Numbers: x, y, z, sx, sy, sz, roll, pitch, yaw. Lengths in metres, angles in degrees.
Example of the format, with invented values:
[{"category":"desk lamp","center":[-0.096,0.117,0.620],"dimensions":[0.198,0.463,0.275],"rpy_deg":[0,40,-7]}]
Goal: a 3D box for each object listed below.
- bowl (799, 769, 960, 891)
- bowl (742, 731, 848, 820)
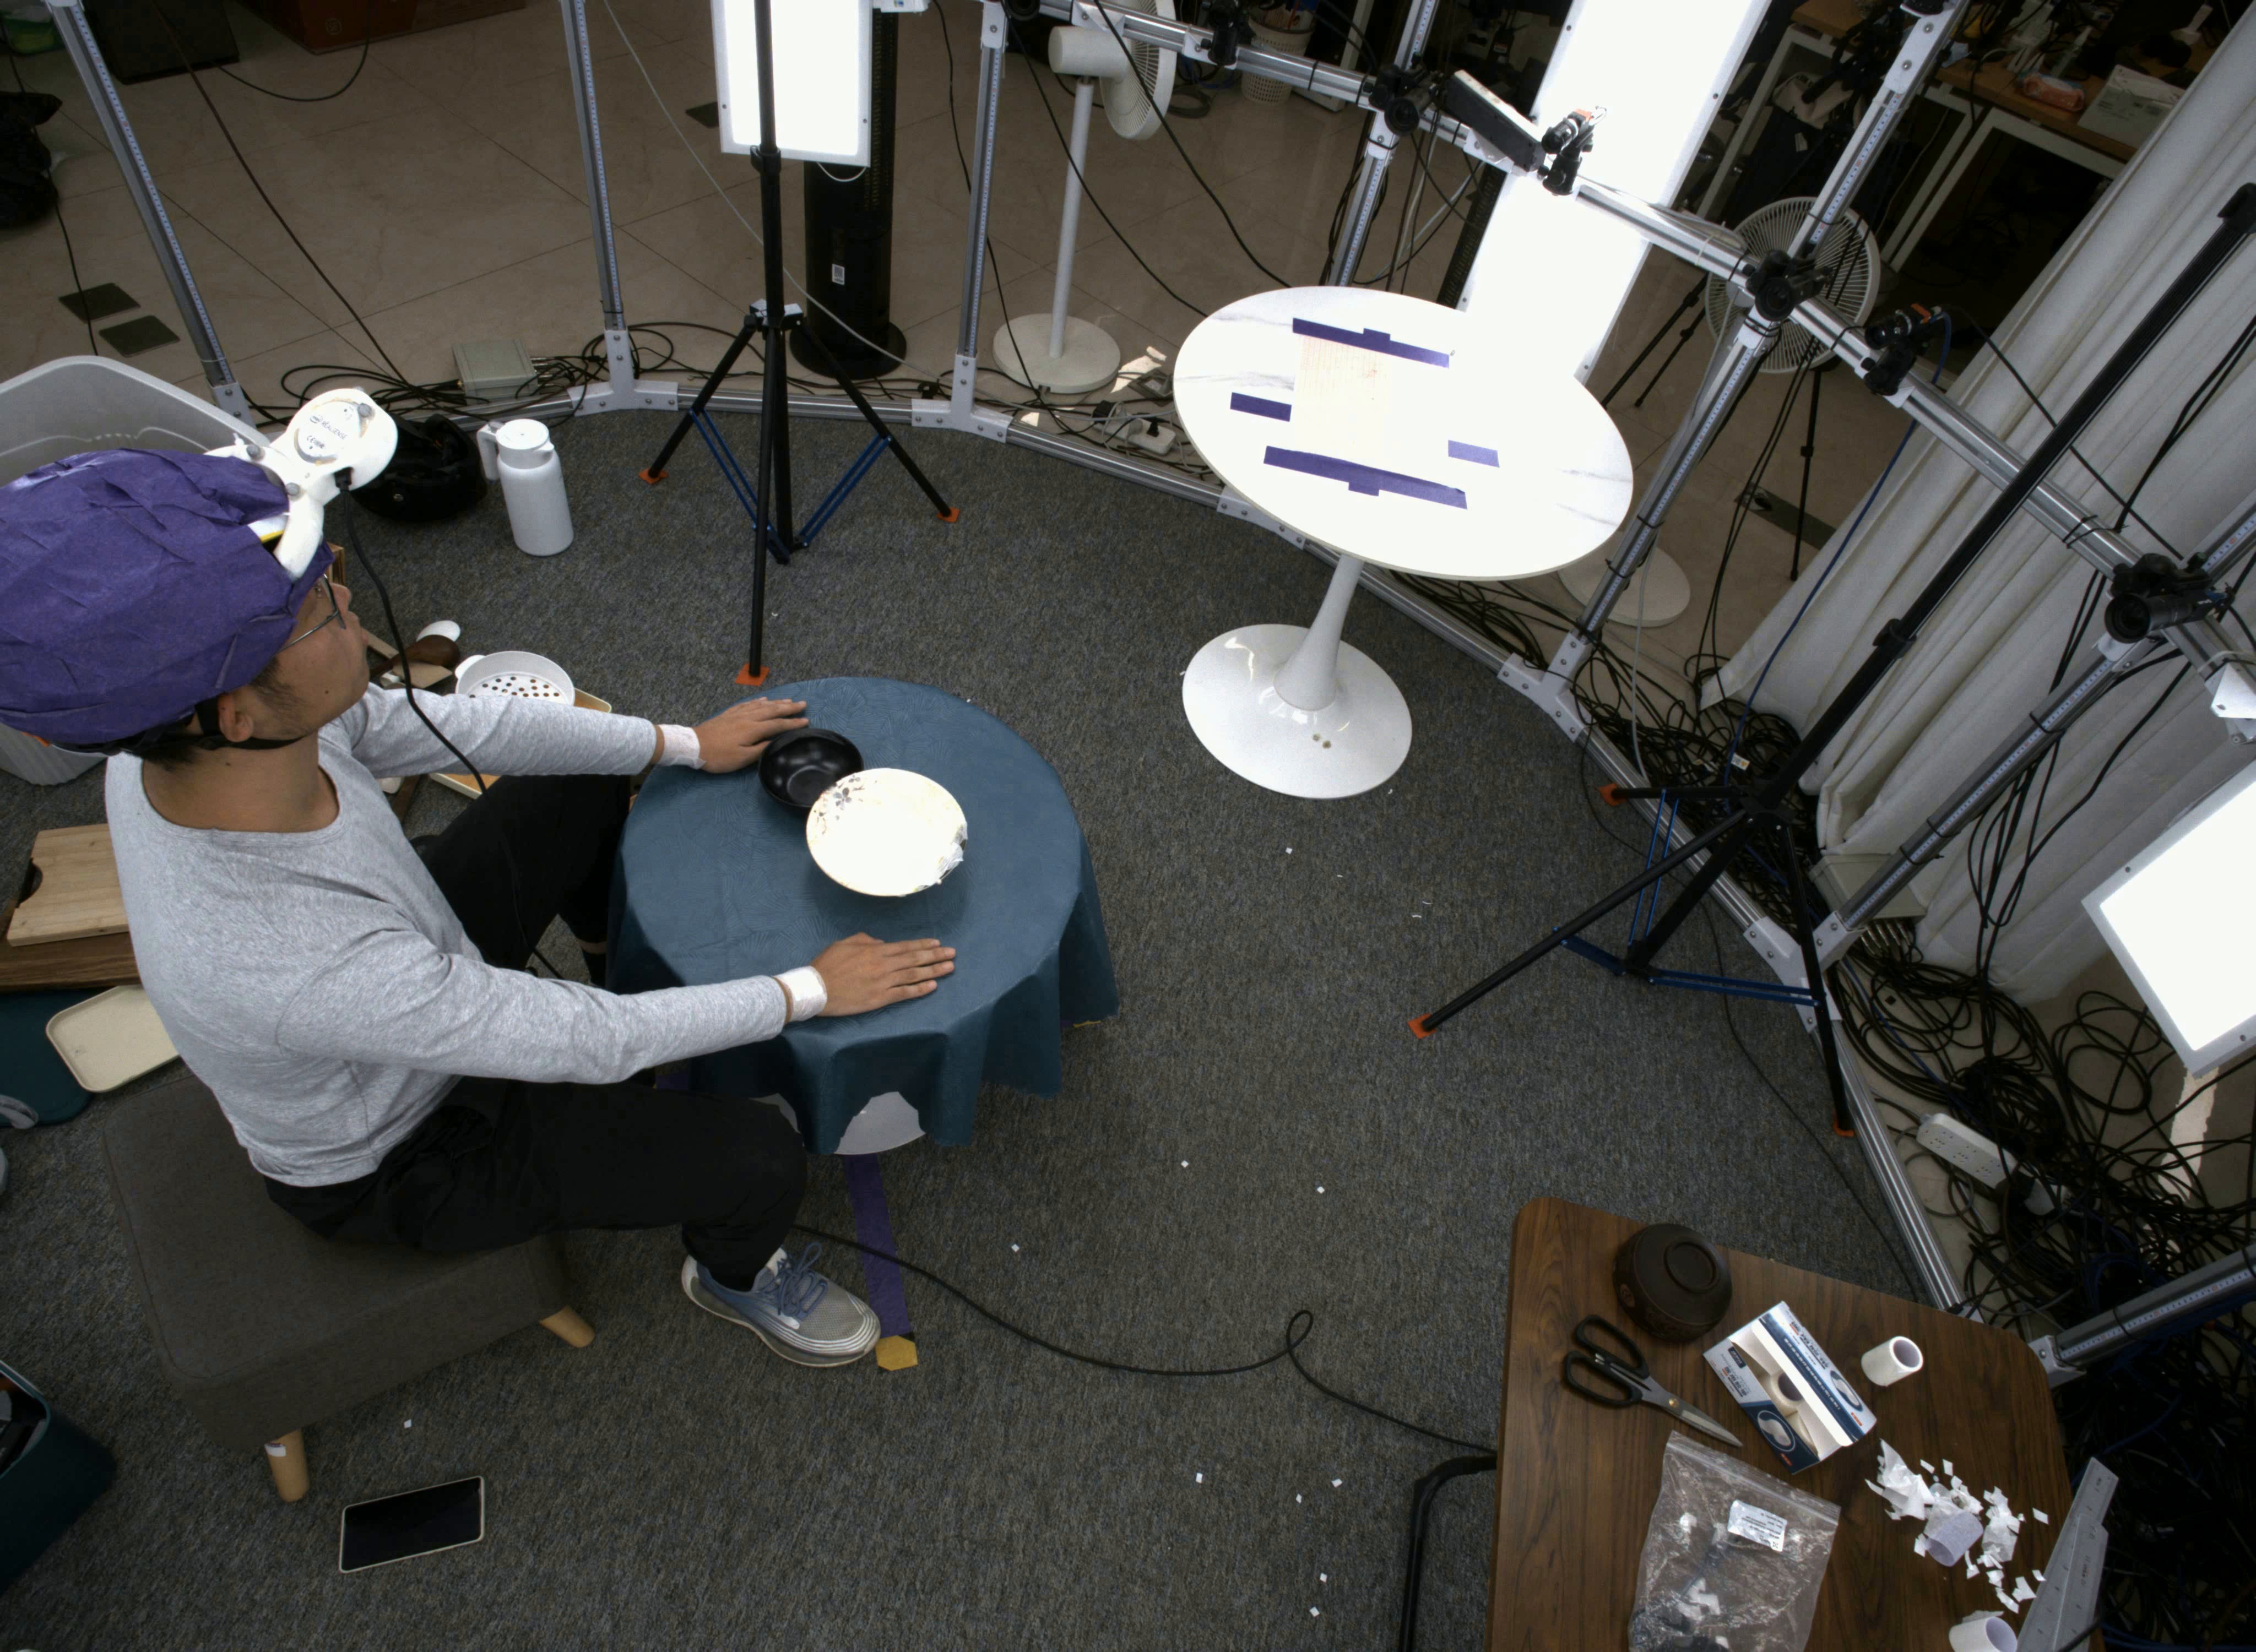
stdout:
[{"category":"bowl","center":[-0.322,0.024,1.679],"dimensions":[0.204,0.079,0.200],"rpy_deg":[11,46,-10]},{"category":"bowl","center":[-0.446,-0.060,1.747],"dimensions":[0.139,0.051,0.137],"rpy_deg":[4,54,-4]}]
